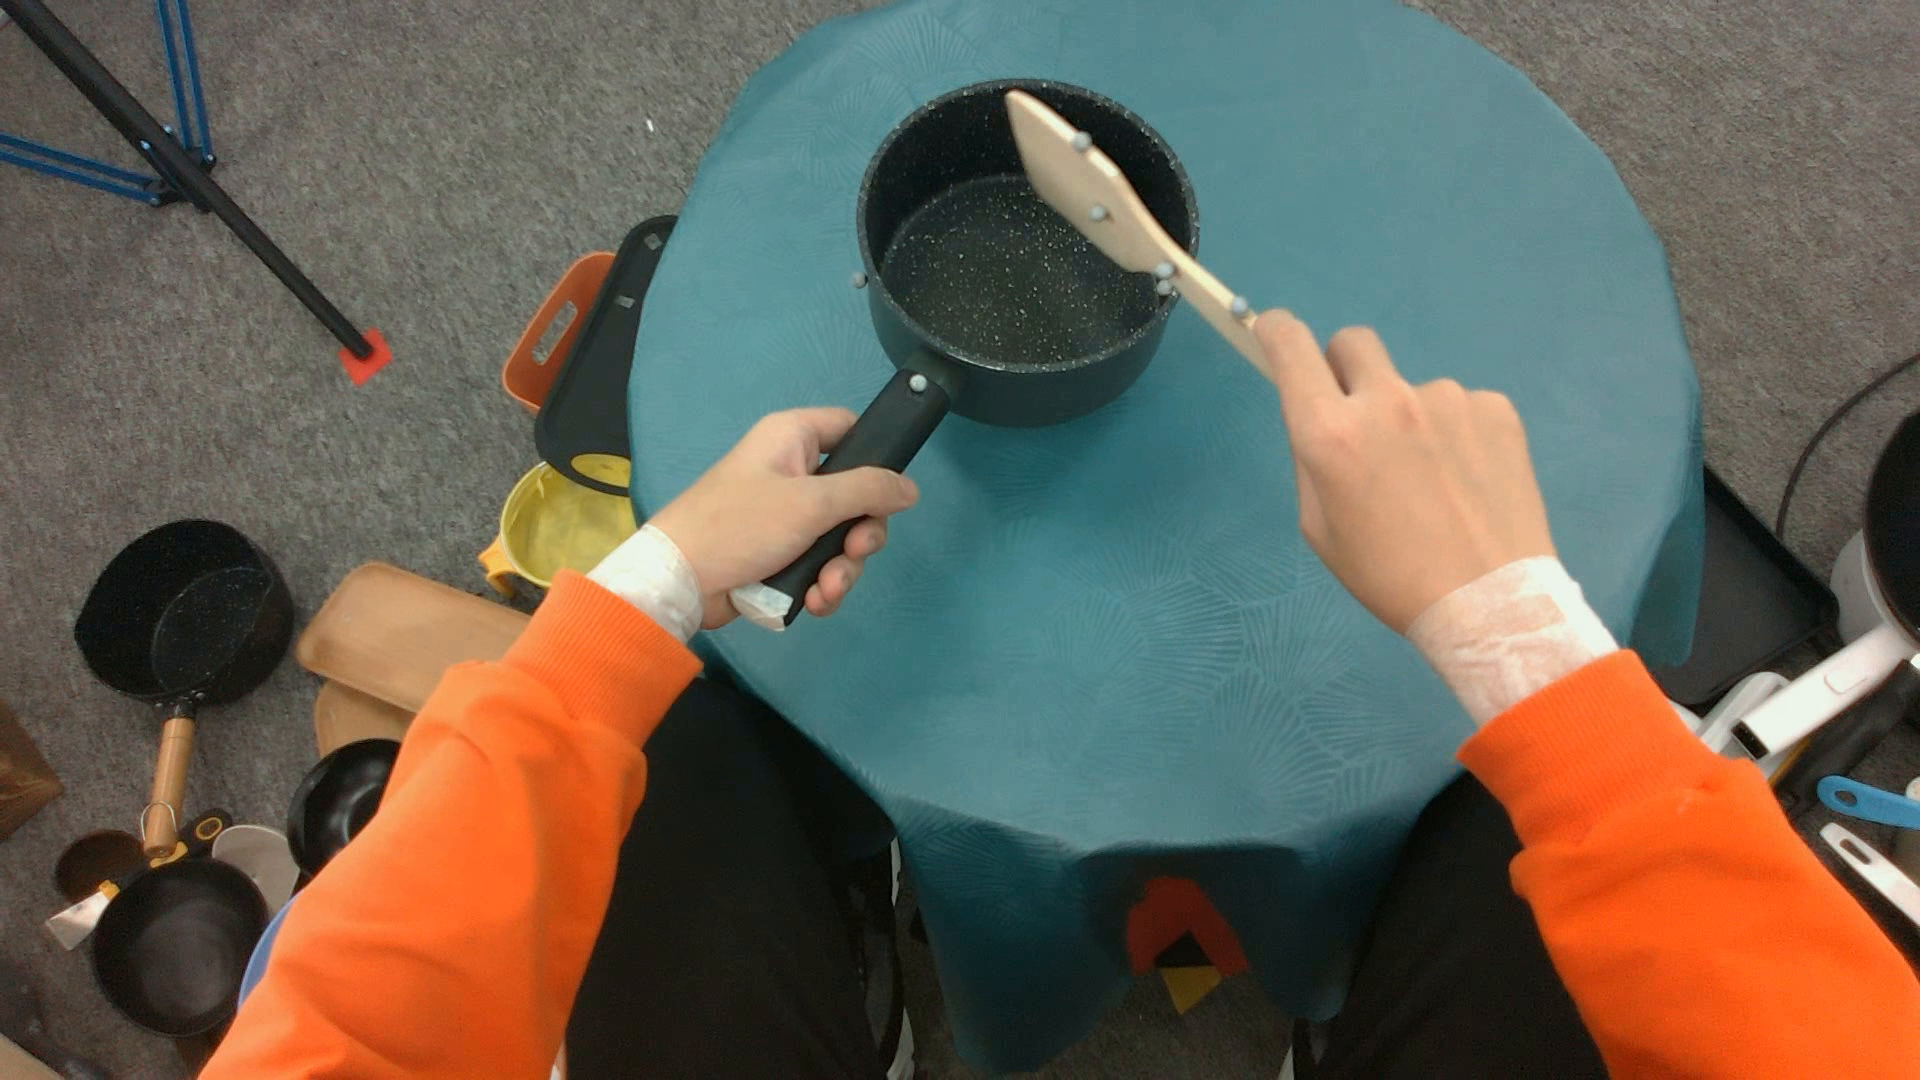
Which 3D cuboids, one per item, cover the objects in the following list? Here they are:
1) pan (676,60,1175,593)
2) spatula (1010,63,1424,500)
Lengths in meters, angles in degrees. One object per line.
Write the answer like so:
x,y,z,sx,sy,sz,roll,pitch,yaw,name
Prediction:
-0.023,-0.096,0.687,0.172,0.086,0.330,32,69,10,pan
0.107,-0.120,0.625,0.010,0.072,0.293,-31,58,-11,spatula
